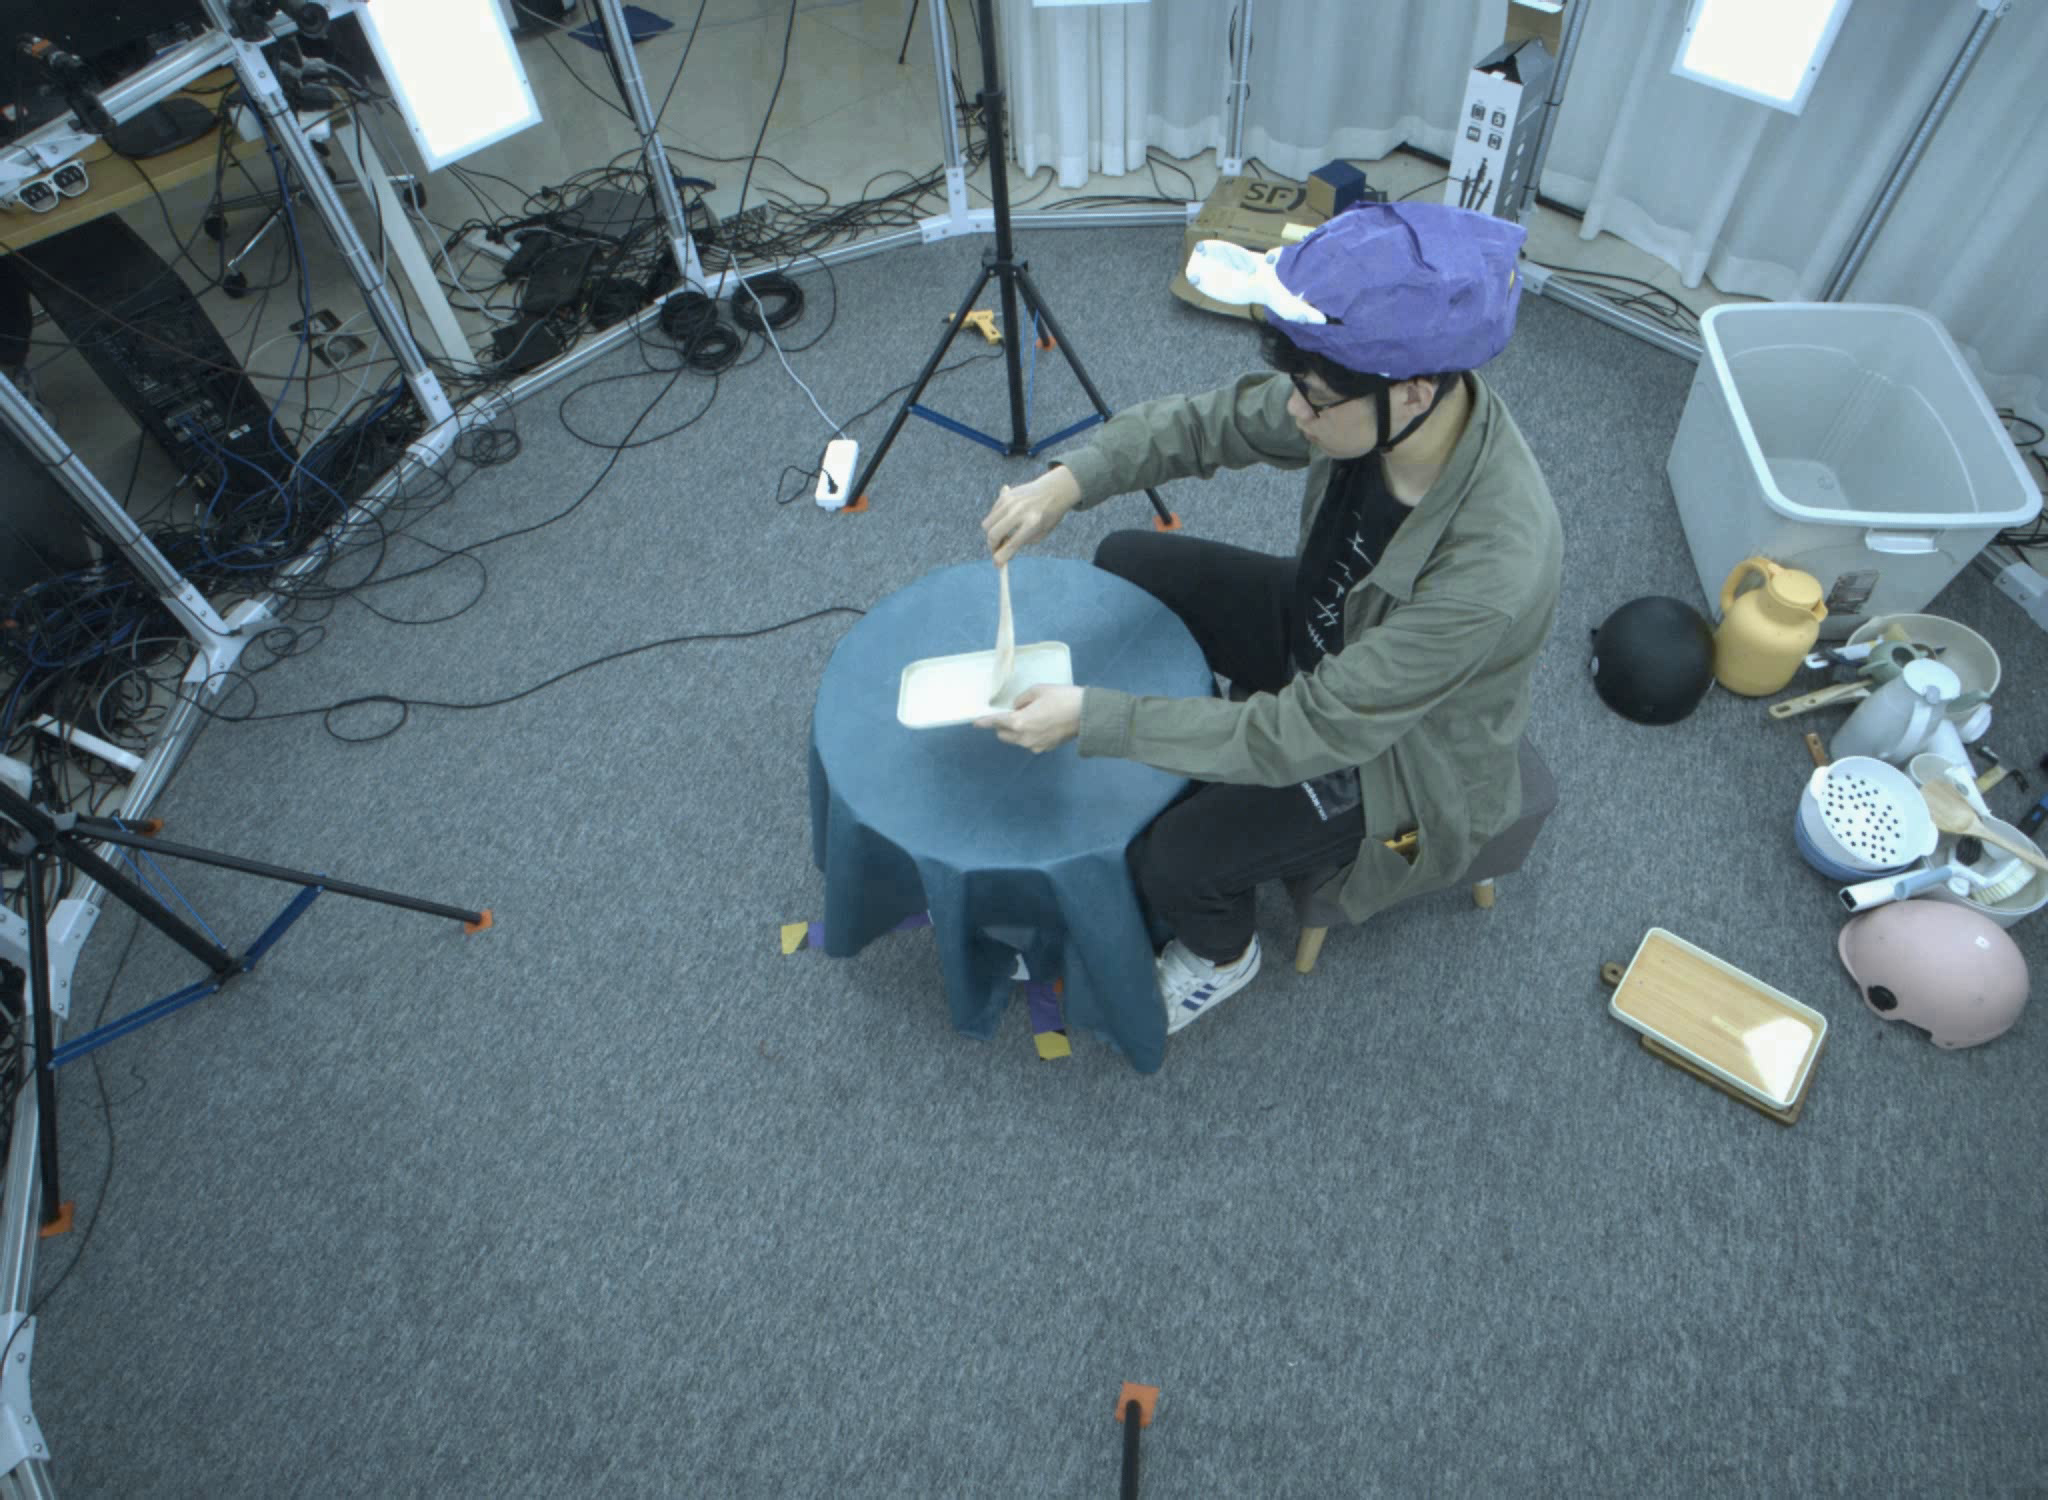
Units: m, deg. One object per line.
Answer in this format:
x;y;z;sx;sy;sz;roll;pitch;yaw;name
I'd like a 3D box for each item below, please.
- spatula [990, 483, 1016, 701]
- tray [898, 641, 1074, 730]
-0.029;-0.228;1.683;0.017;0.079;0.325;7;68;-22;spatula
-0.052;-0.088;1.689;0.239;0.018;0.169;-7;35;2;tray
